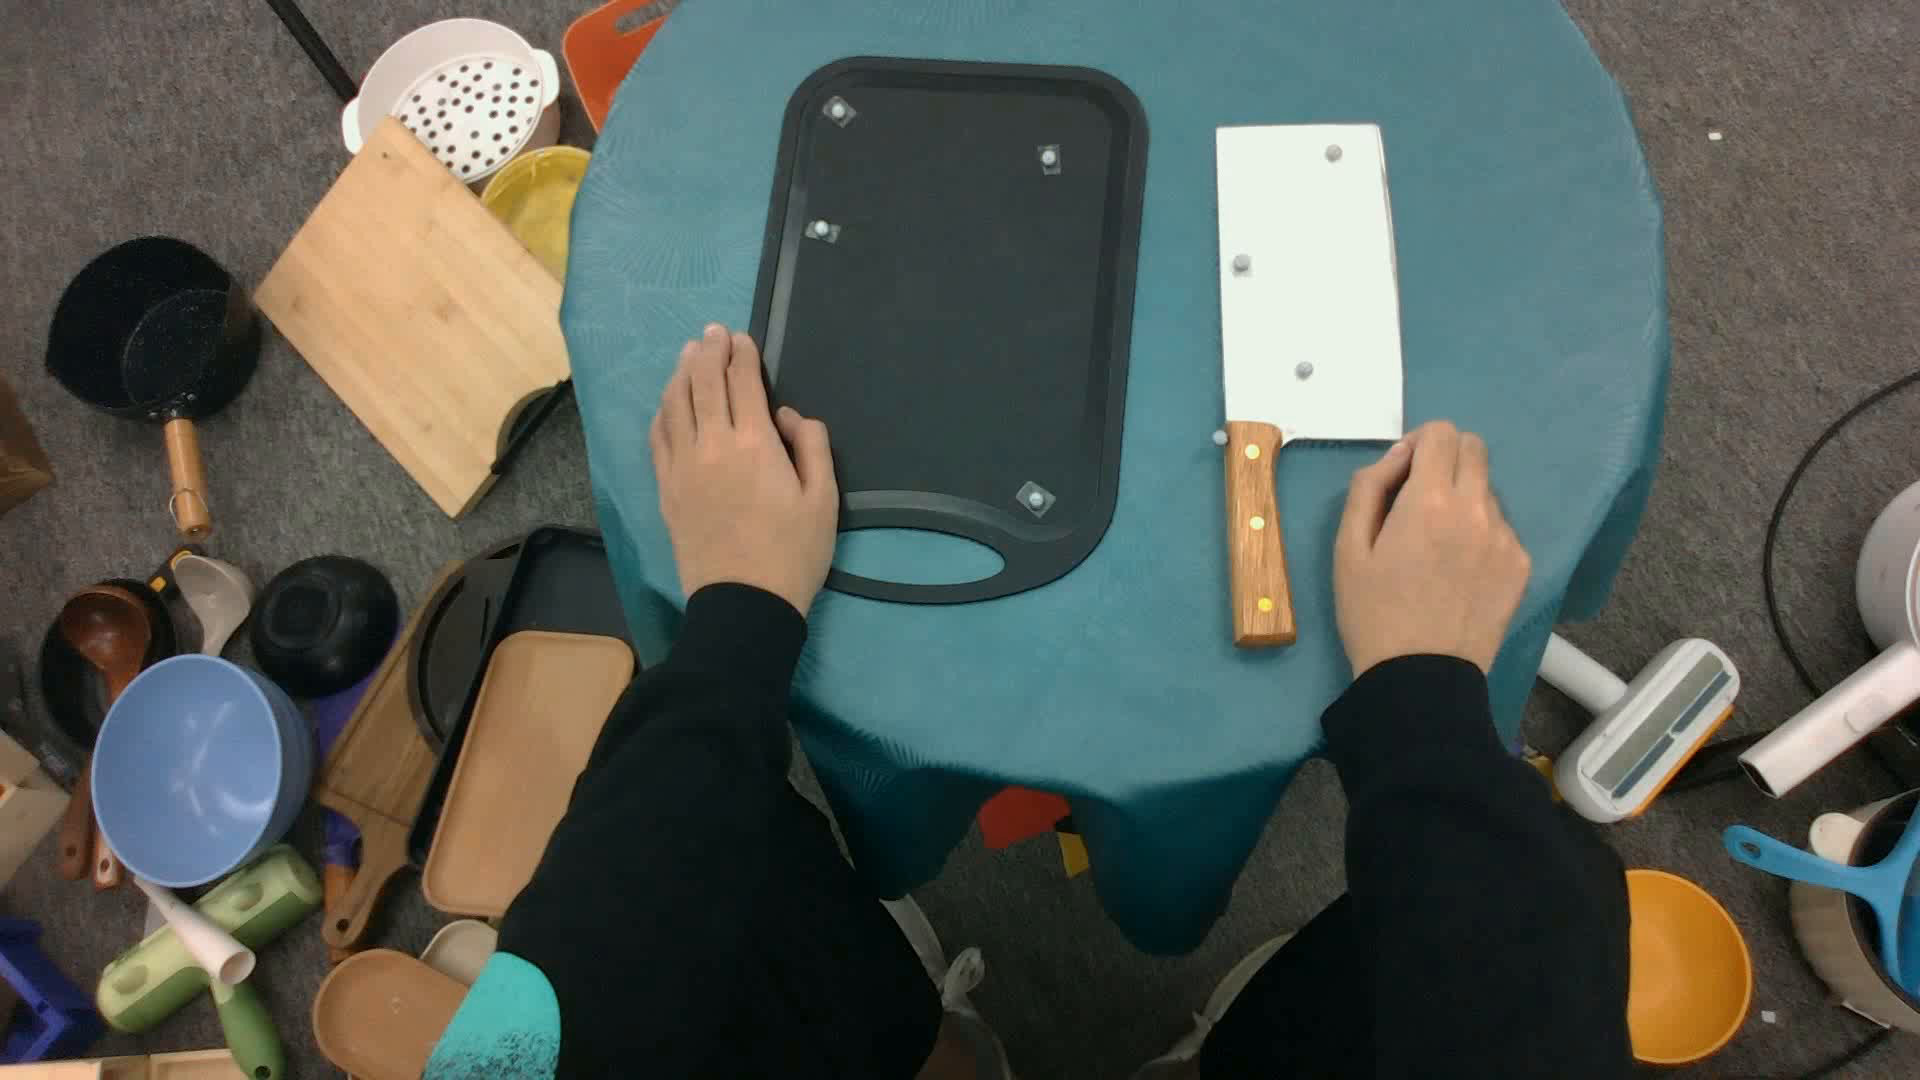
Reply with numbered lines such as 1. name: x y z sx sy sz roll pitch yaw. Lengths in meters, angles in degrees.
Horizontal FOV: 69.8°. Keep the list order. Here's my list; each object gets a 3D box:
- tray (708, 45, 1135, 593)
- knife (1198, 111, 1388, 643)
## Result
1. tray: -0.018 -0.129 0.747 0.211 0.010 0.326 5 73 6
2. knife: 0.175 -0.095 0.719 0.093 0.021 0.306 0 71 3
